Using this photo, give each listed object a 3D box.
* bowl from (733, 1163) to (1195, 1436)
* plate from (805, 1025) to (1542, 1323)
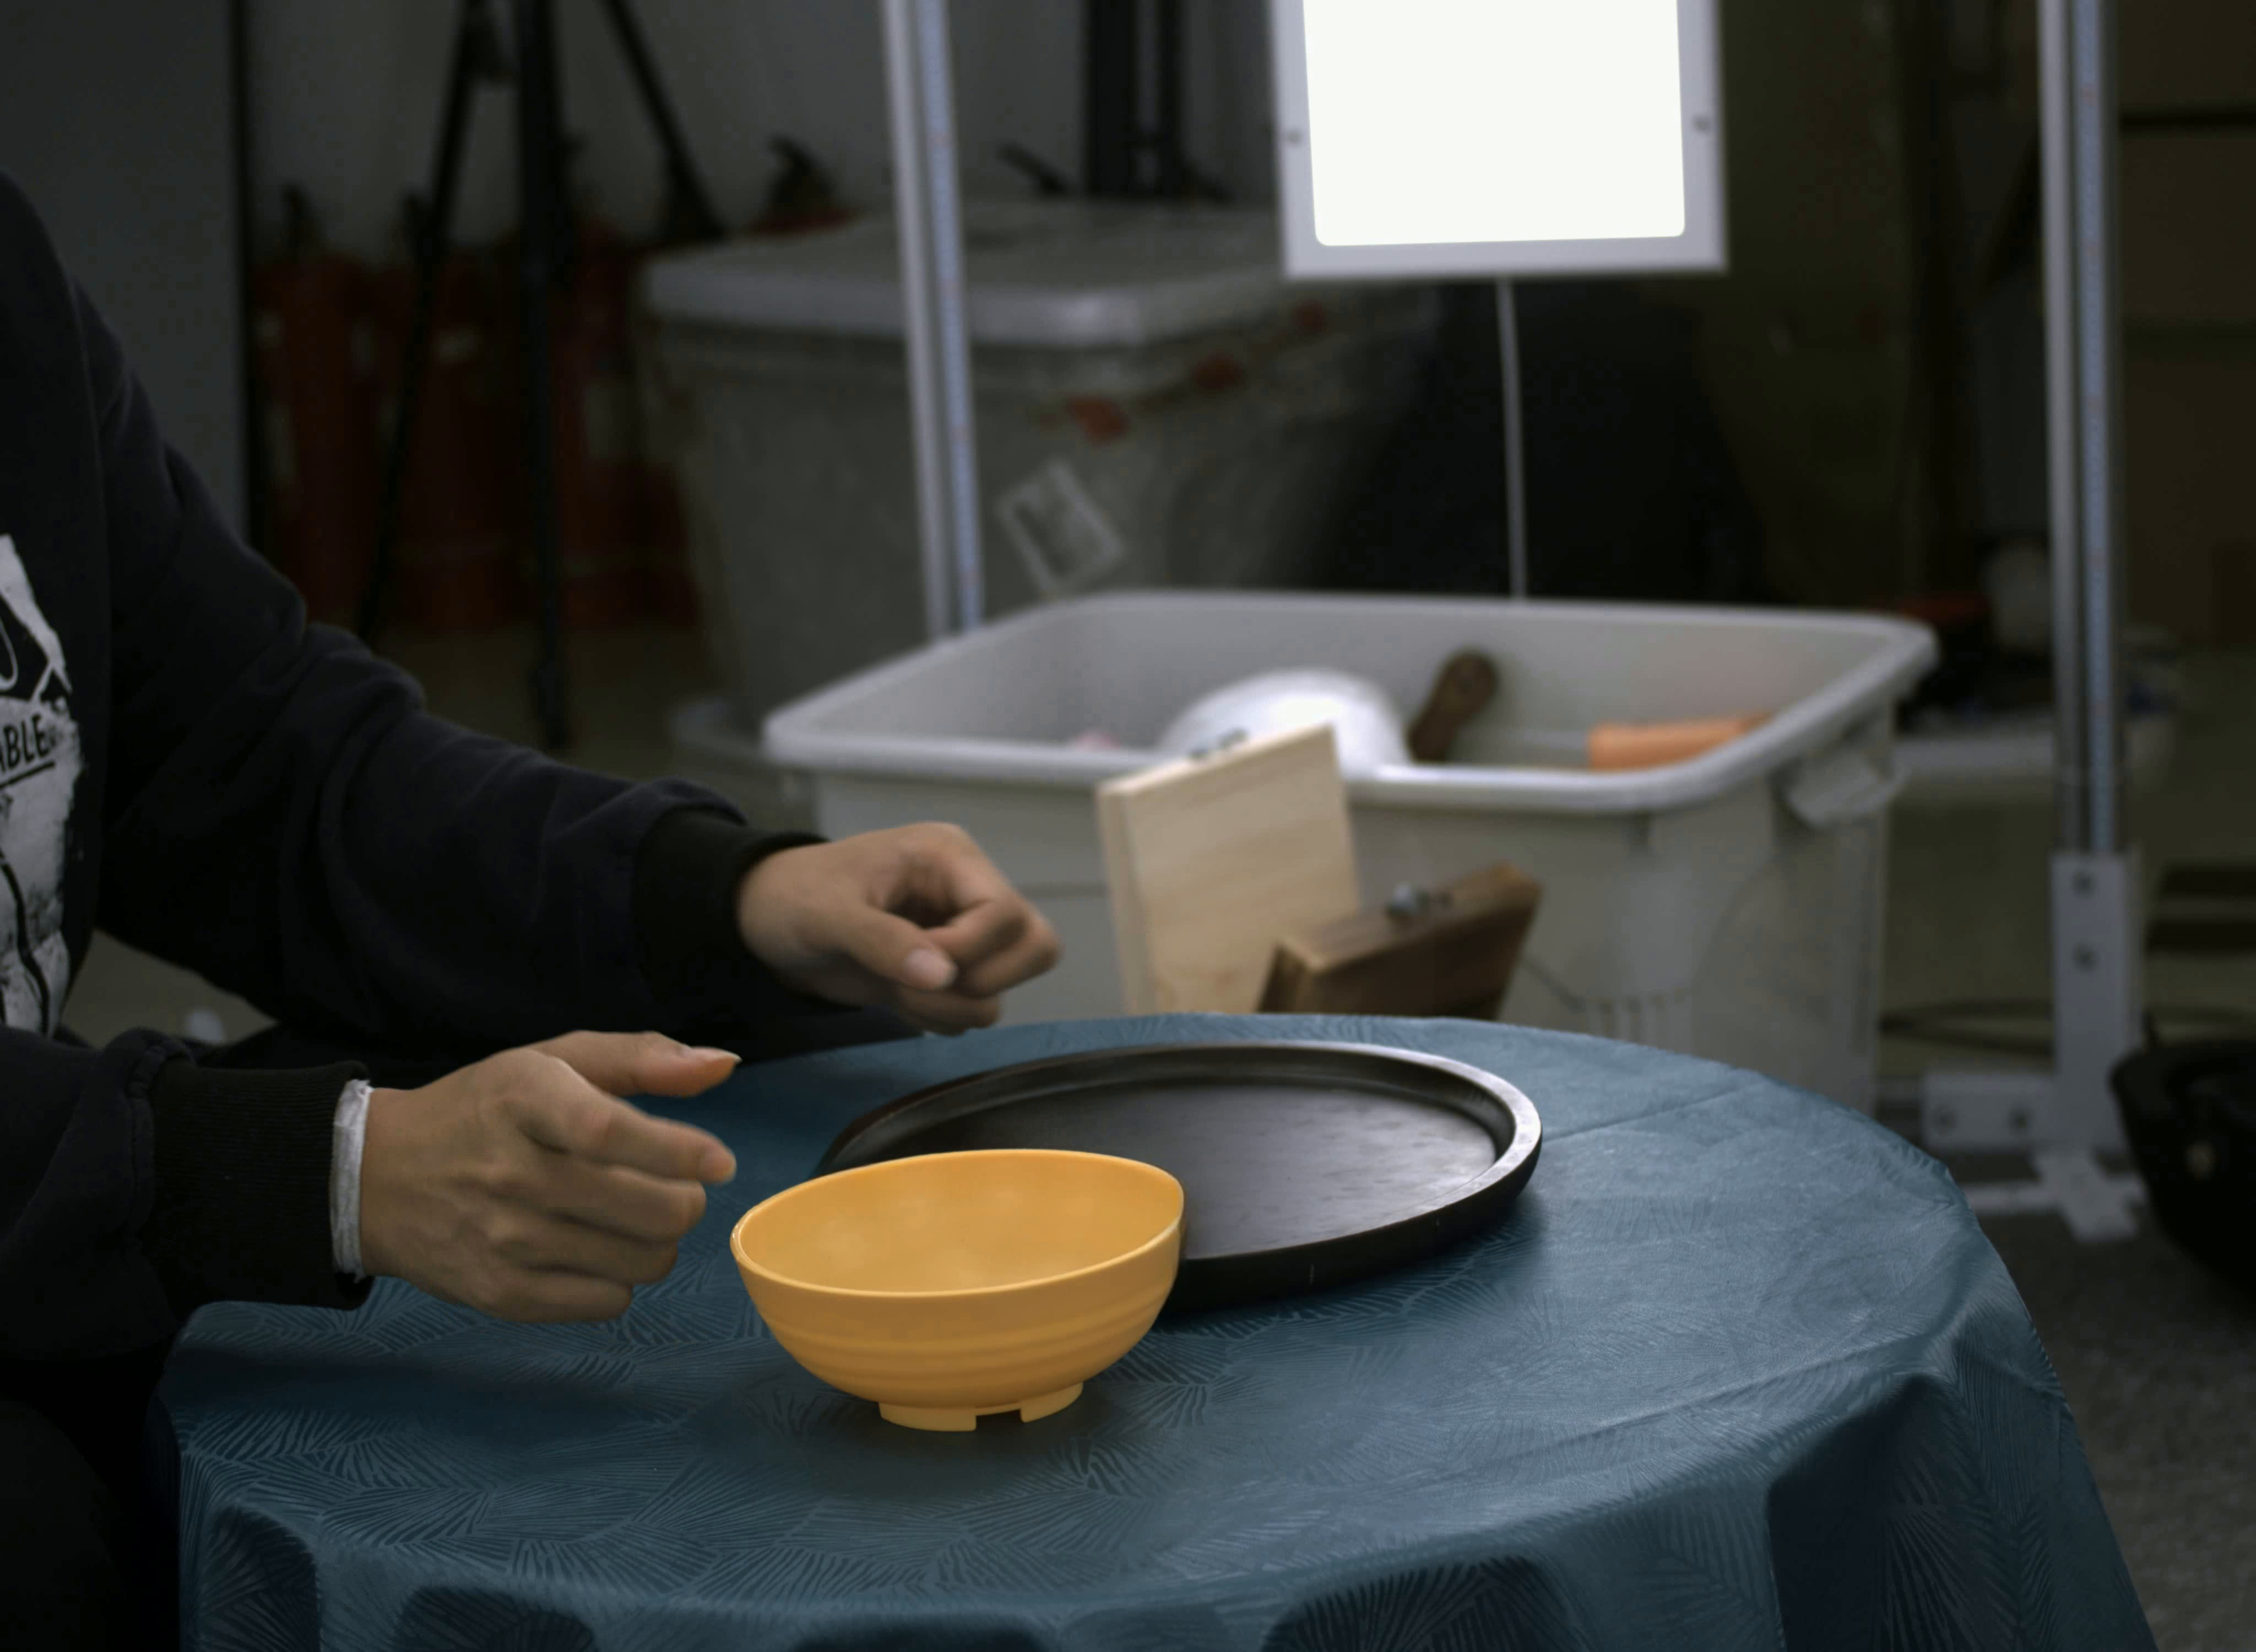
[{"bbox_3d":[-0.048,0.150,1.702,0.145,0.060,0.145,-6,11,0],"label":"bowl"},{"bbox_3d":[0.016,0.118,1.879,0.254,0.029,0.254,-6,15,0],"label":"plate"}]
